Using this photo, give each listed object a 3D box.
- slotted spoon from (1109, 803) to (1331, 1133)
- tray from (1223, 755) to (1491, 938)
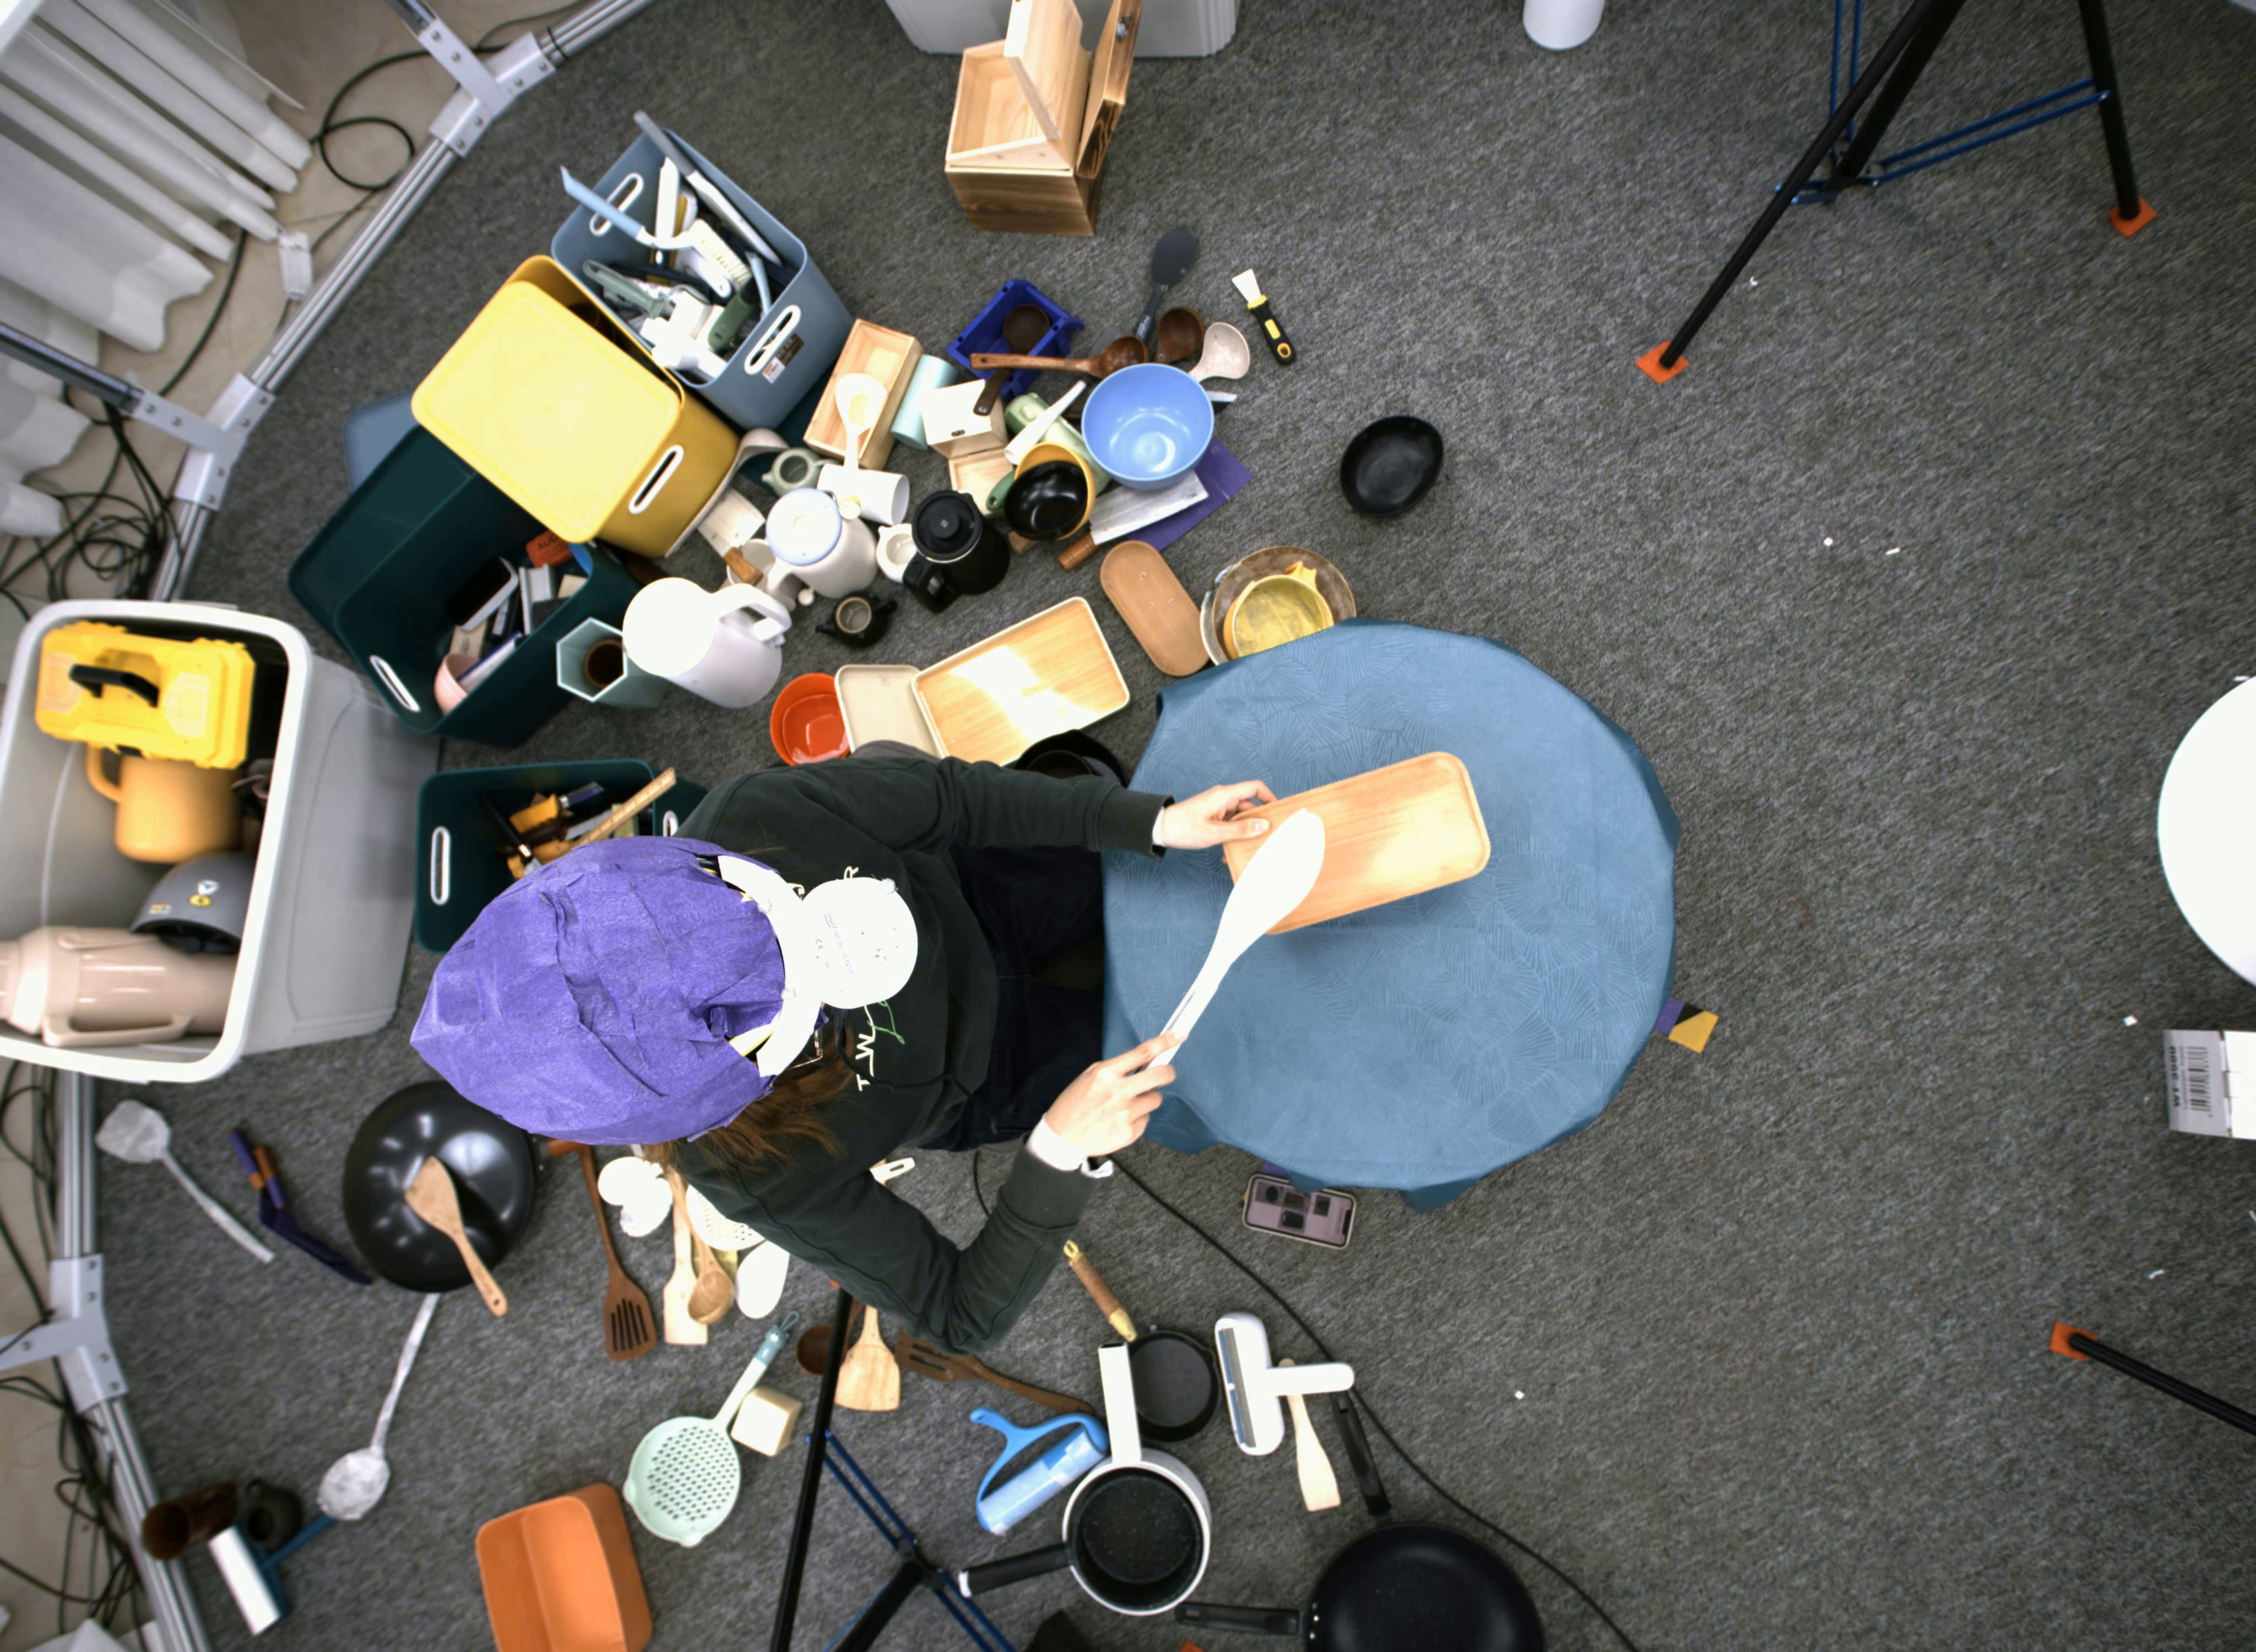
[{"bbox_3d":[0.085,0.126,1.258,0.046,0.137,0.347,40,81,-7],"label":"slotted spoon"},{"bbox_3d":[0.225,0.021,1.366,0.252,0.023,0.130,-17,89,13],"label":"tray"}]
